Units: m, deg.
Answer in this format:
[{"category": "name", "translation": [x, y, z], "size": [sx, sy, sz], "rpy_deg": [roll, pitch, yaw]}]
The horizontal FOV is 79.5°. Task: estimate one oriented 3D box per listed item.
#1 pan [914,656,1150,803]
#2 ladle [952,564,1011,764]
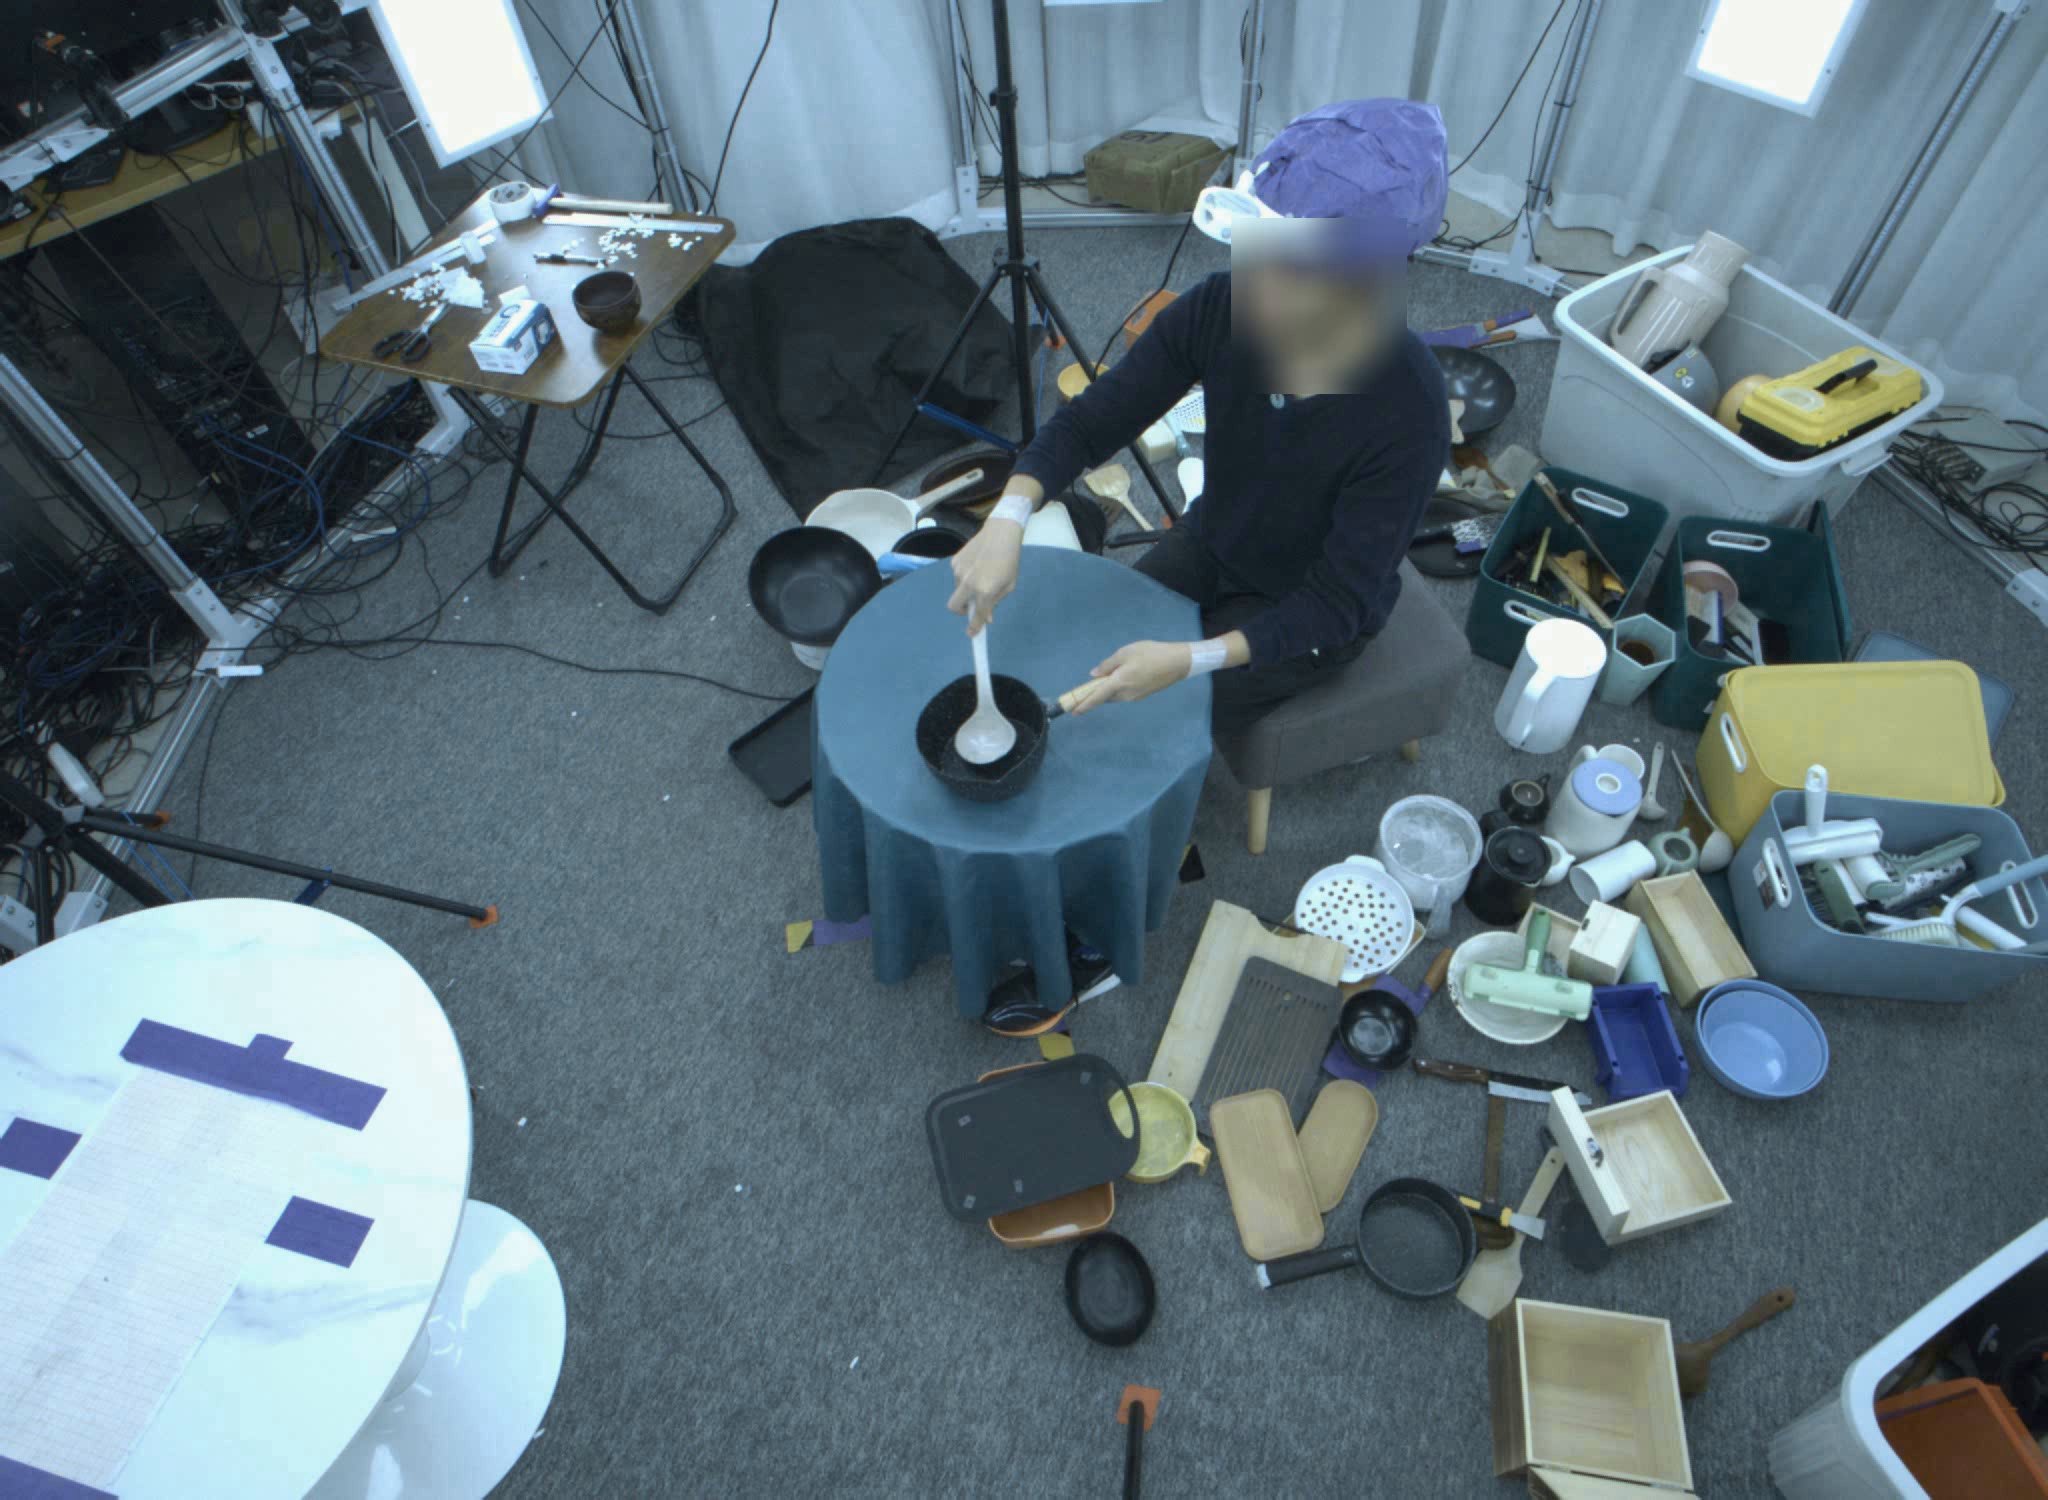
[{"category": "pan", "translation": [0.018, -0.044, 1.732], "size": [0.343, 0.110, 0.204], "rpy_deg": [-20, 55, -2]}, {"category": "ladle", "translation": [-0.070, -0.117, 1.714], "size": [0.088, 0.277, 0.070], "rpy_deg": [3, 23, 21]}]
